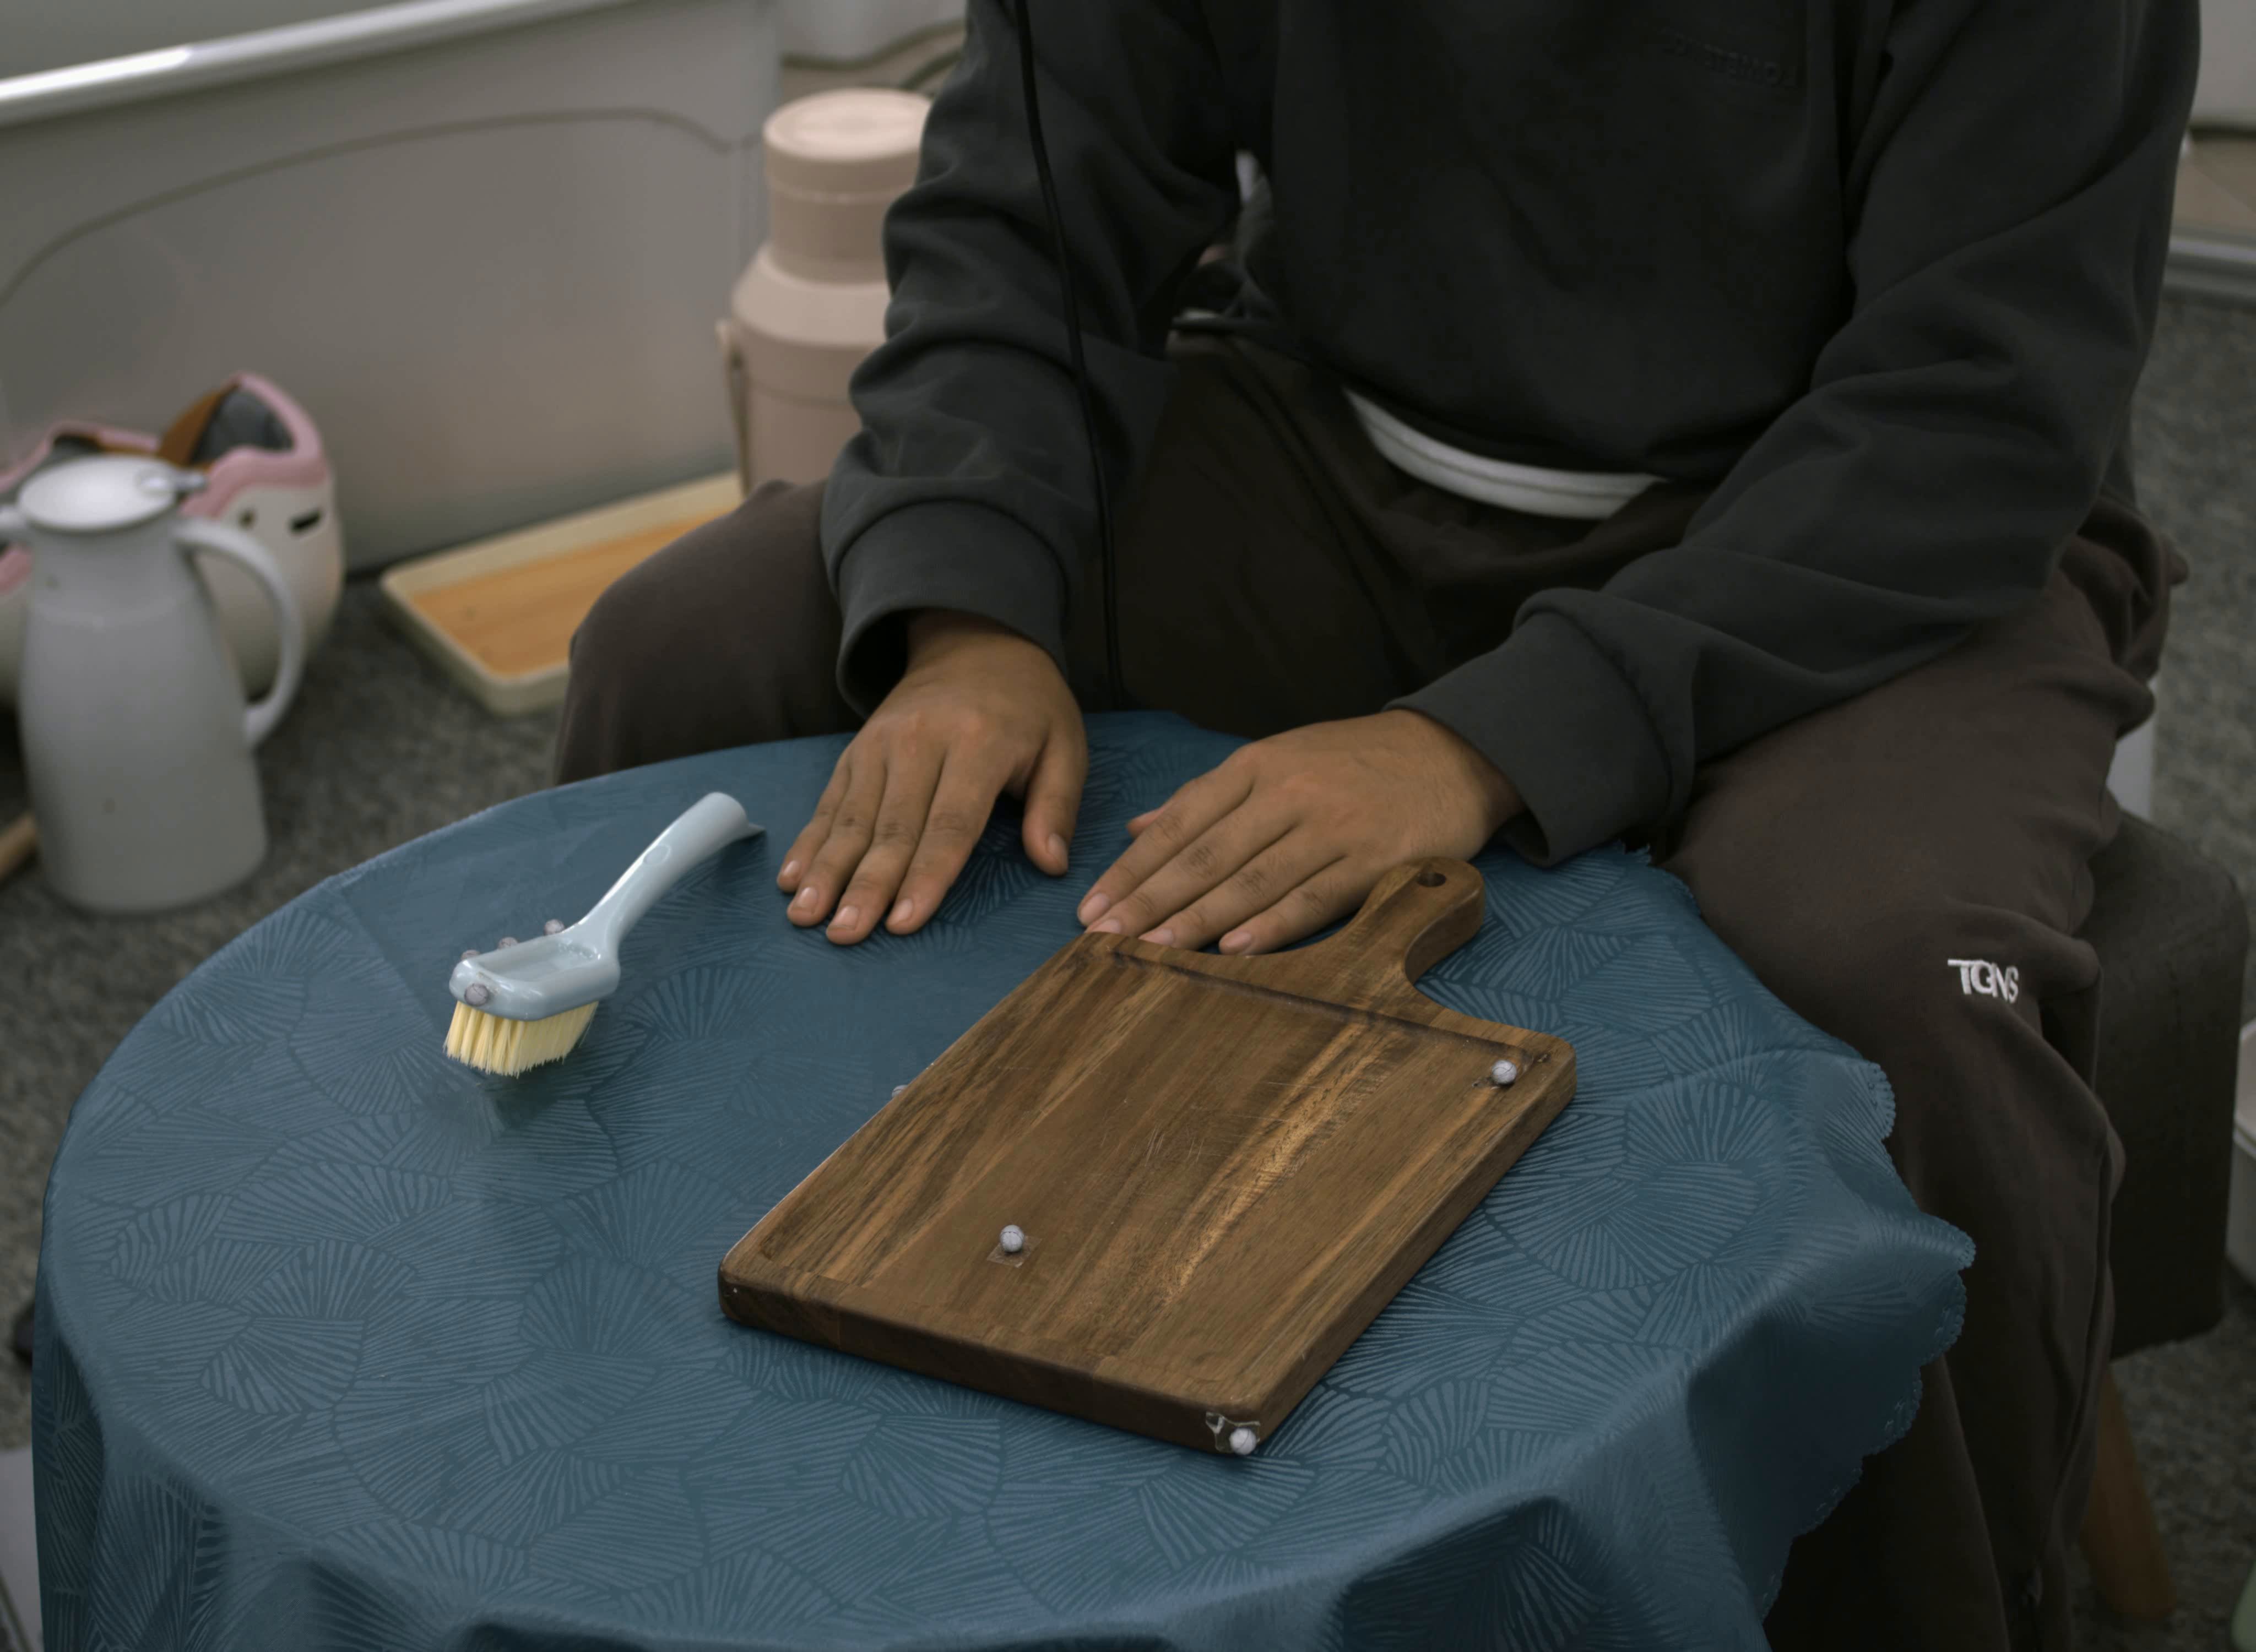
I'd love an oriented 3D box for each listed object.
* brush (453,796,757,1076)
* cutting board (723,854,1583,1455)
[{"bbox_3d":[-0.185,0.039,2.007,0.037,0.049,0.232,17,24,12],"label":"brush"},{"bbox_3d":[0.036,0.094,1.892,0.200,0.023,0.358,12,31,26],"label":"cutting board"}]
